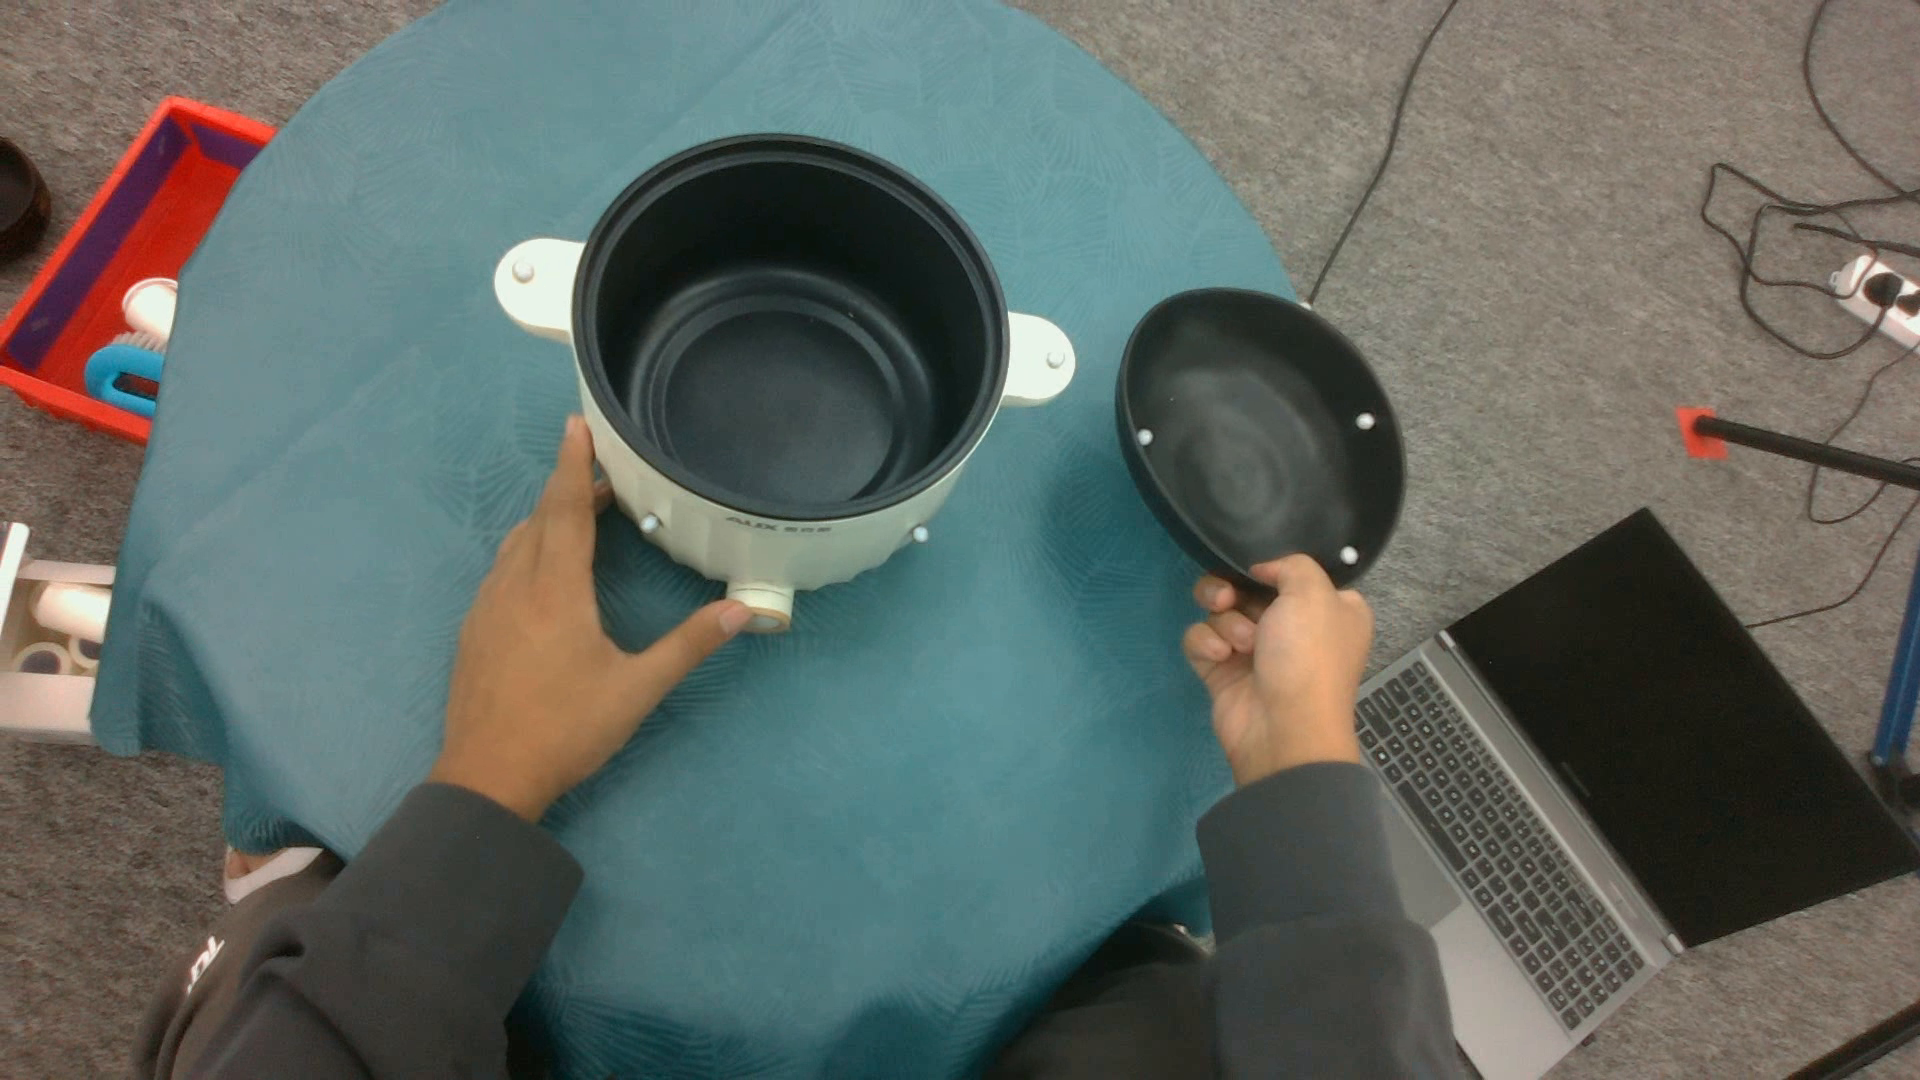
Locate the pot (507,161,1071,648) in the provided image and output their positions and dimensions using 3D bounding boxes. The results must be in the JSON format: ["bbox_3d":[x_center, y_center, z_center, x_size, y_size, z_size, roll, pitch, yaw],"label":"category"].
[{"bbox_3d":[-0.078,-0.057,0.644,0.240,0.142,0.191,3,65,-9],"label":"pot"}]

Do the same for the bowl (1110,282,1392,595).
[{"bbox_3d":[0.140,-0.046,0.696,0.137,0.066,0.170,-19,72,-18],"label":"bowl"}]
